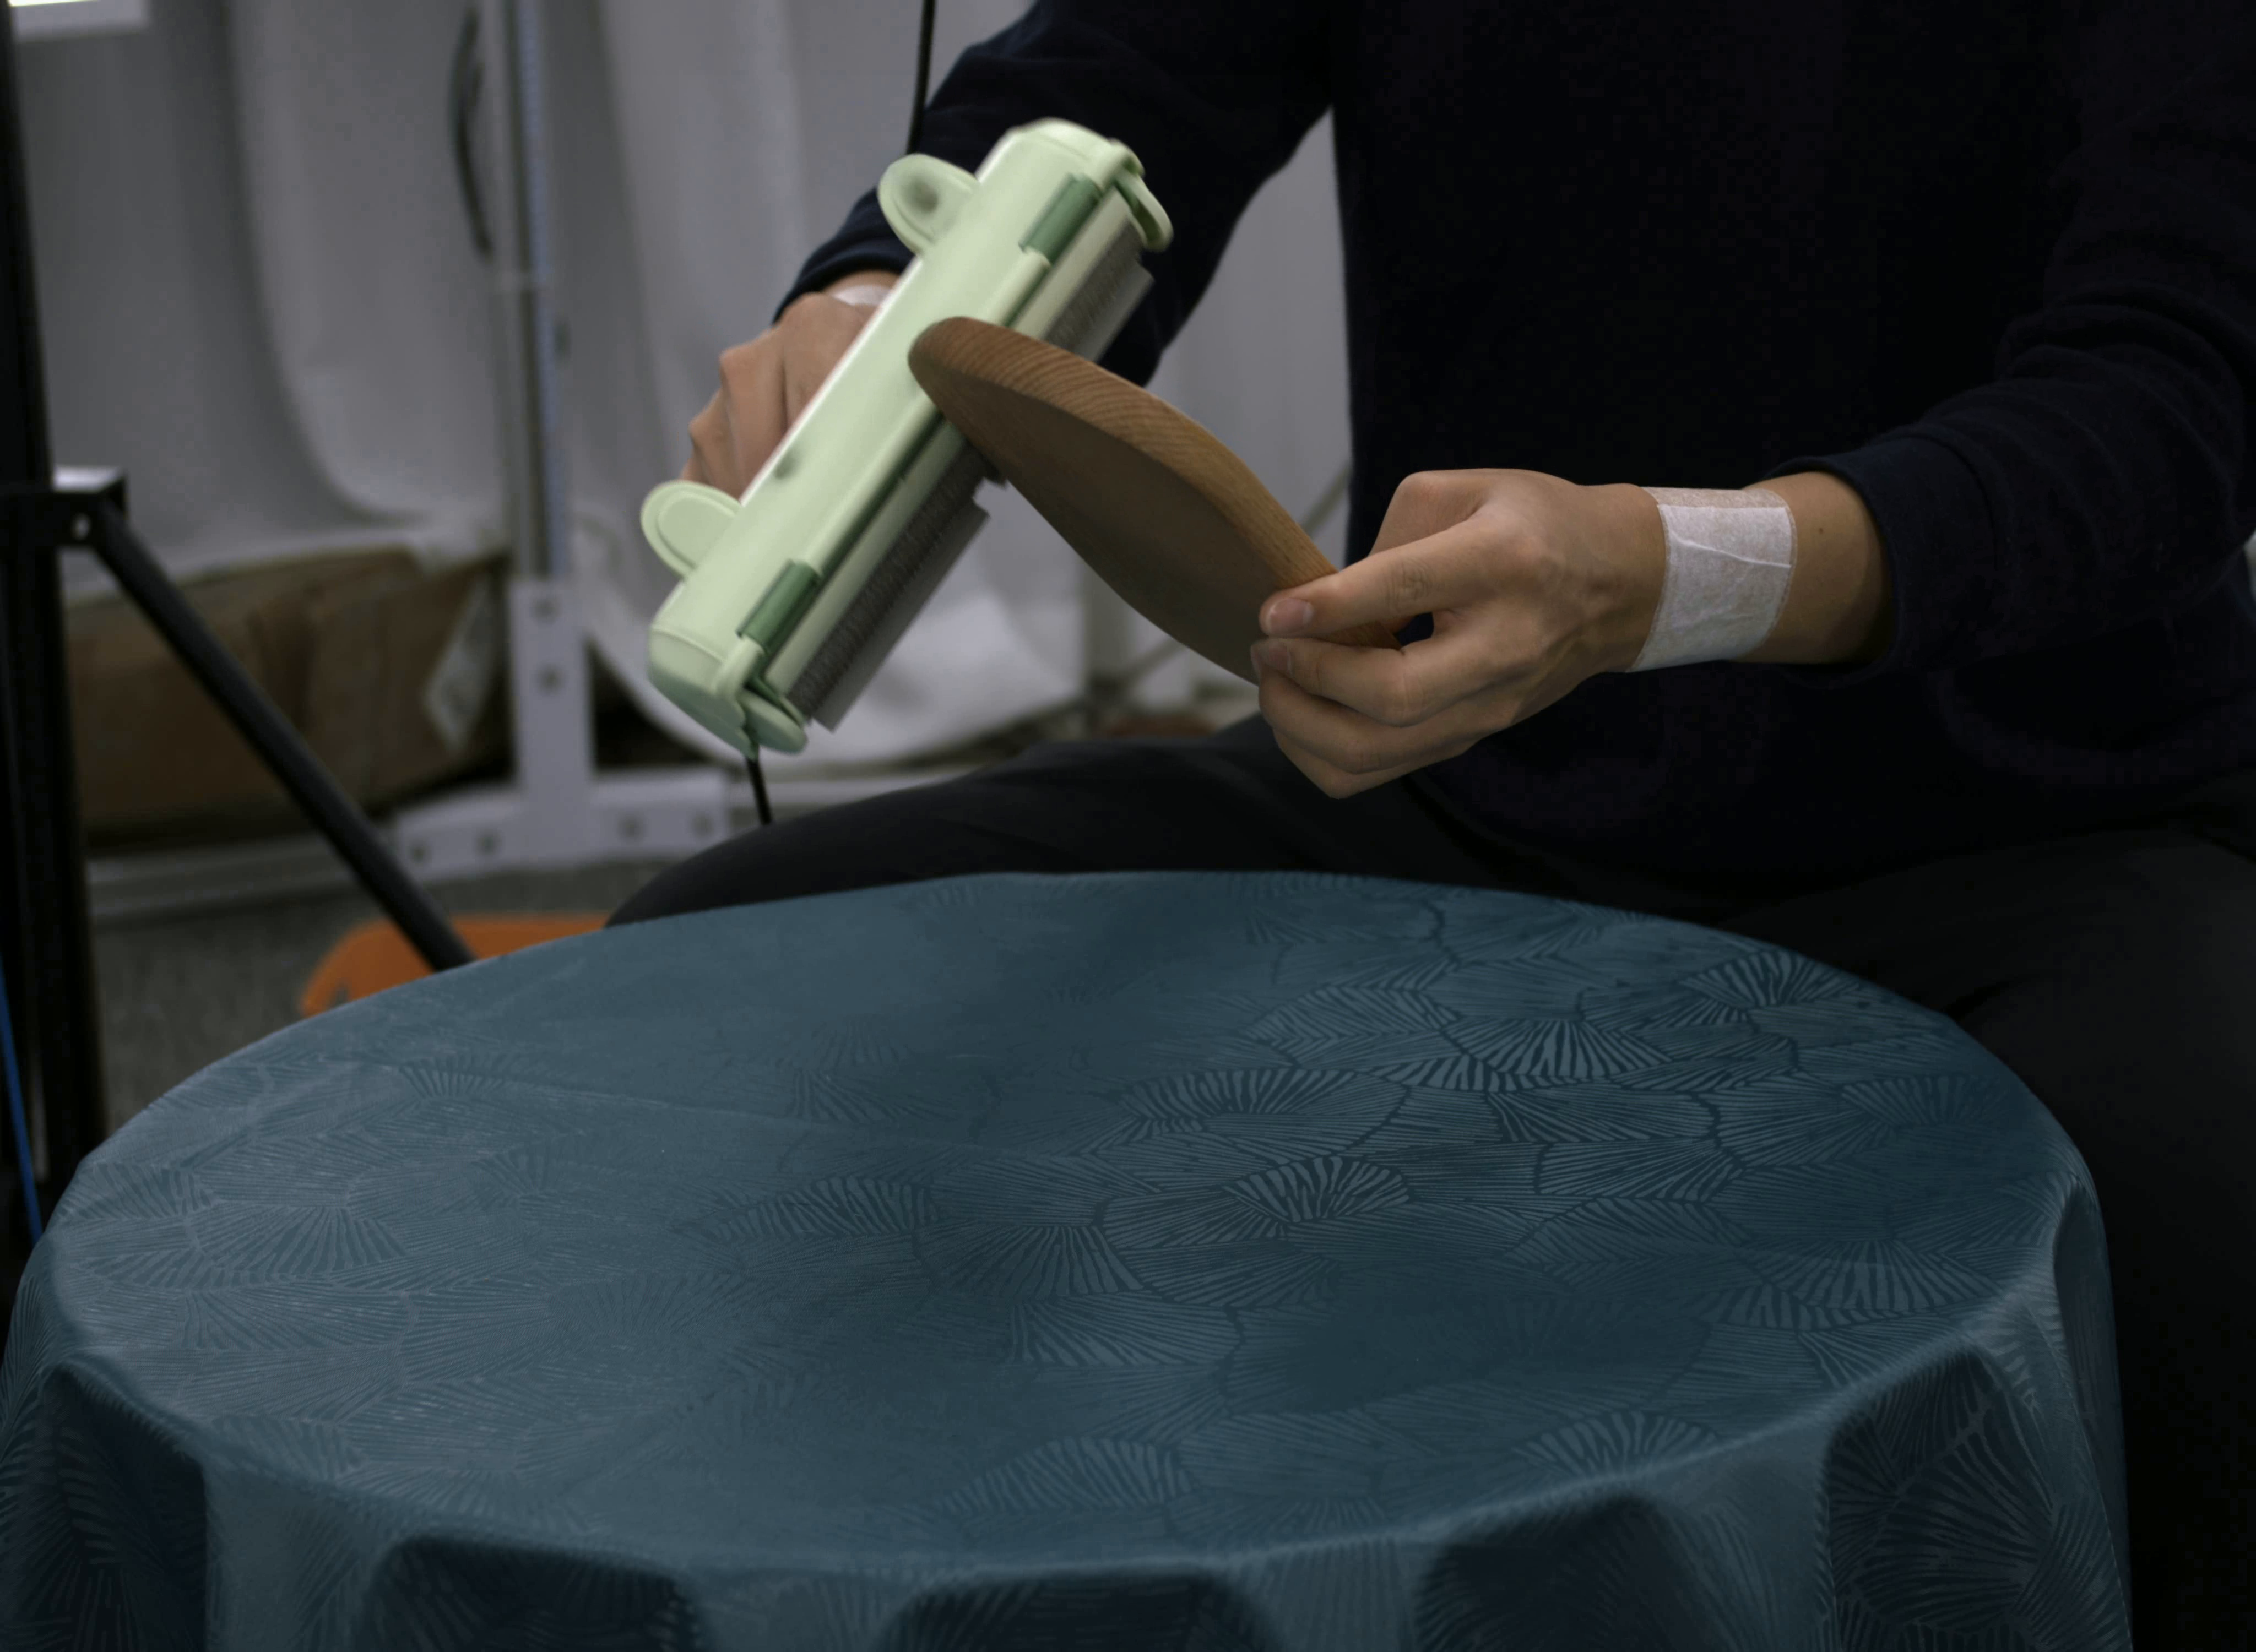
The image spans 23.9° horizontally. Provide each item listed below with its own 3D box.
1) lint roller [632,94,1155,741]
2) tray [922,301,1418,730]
[{"bbox_3d":[-0.092,-0.120,1.531,0.198,0.081,0.186,-55,21,-13],"label":"lint roller"},{"bbox_3d":[0.013,-0.082,1.472,0.104,0.020,0.226,26,-12,30],"label":"tray"}]
